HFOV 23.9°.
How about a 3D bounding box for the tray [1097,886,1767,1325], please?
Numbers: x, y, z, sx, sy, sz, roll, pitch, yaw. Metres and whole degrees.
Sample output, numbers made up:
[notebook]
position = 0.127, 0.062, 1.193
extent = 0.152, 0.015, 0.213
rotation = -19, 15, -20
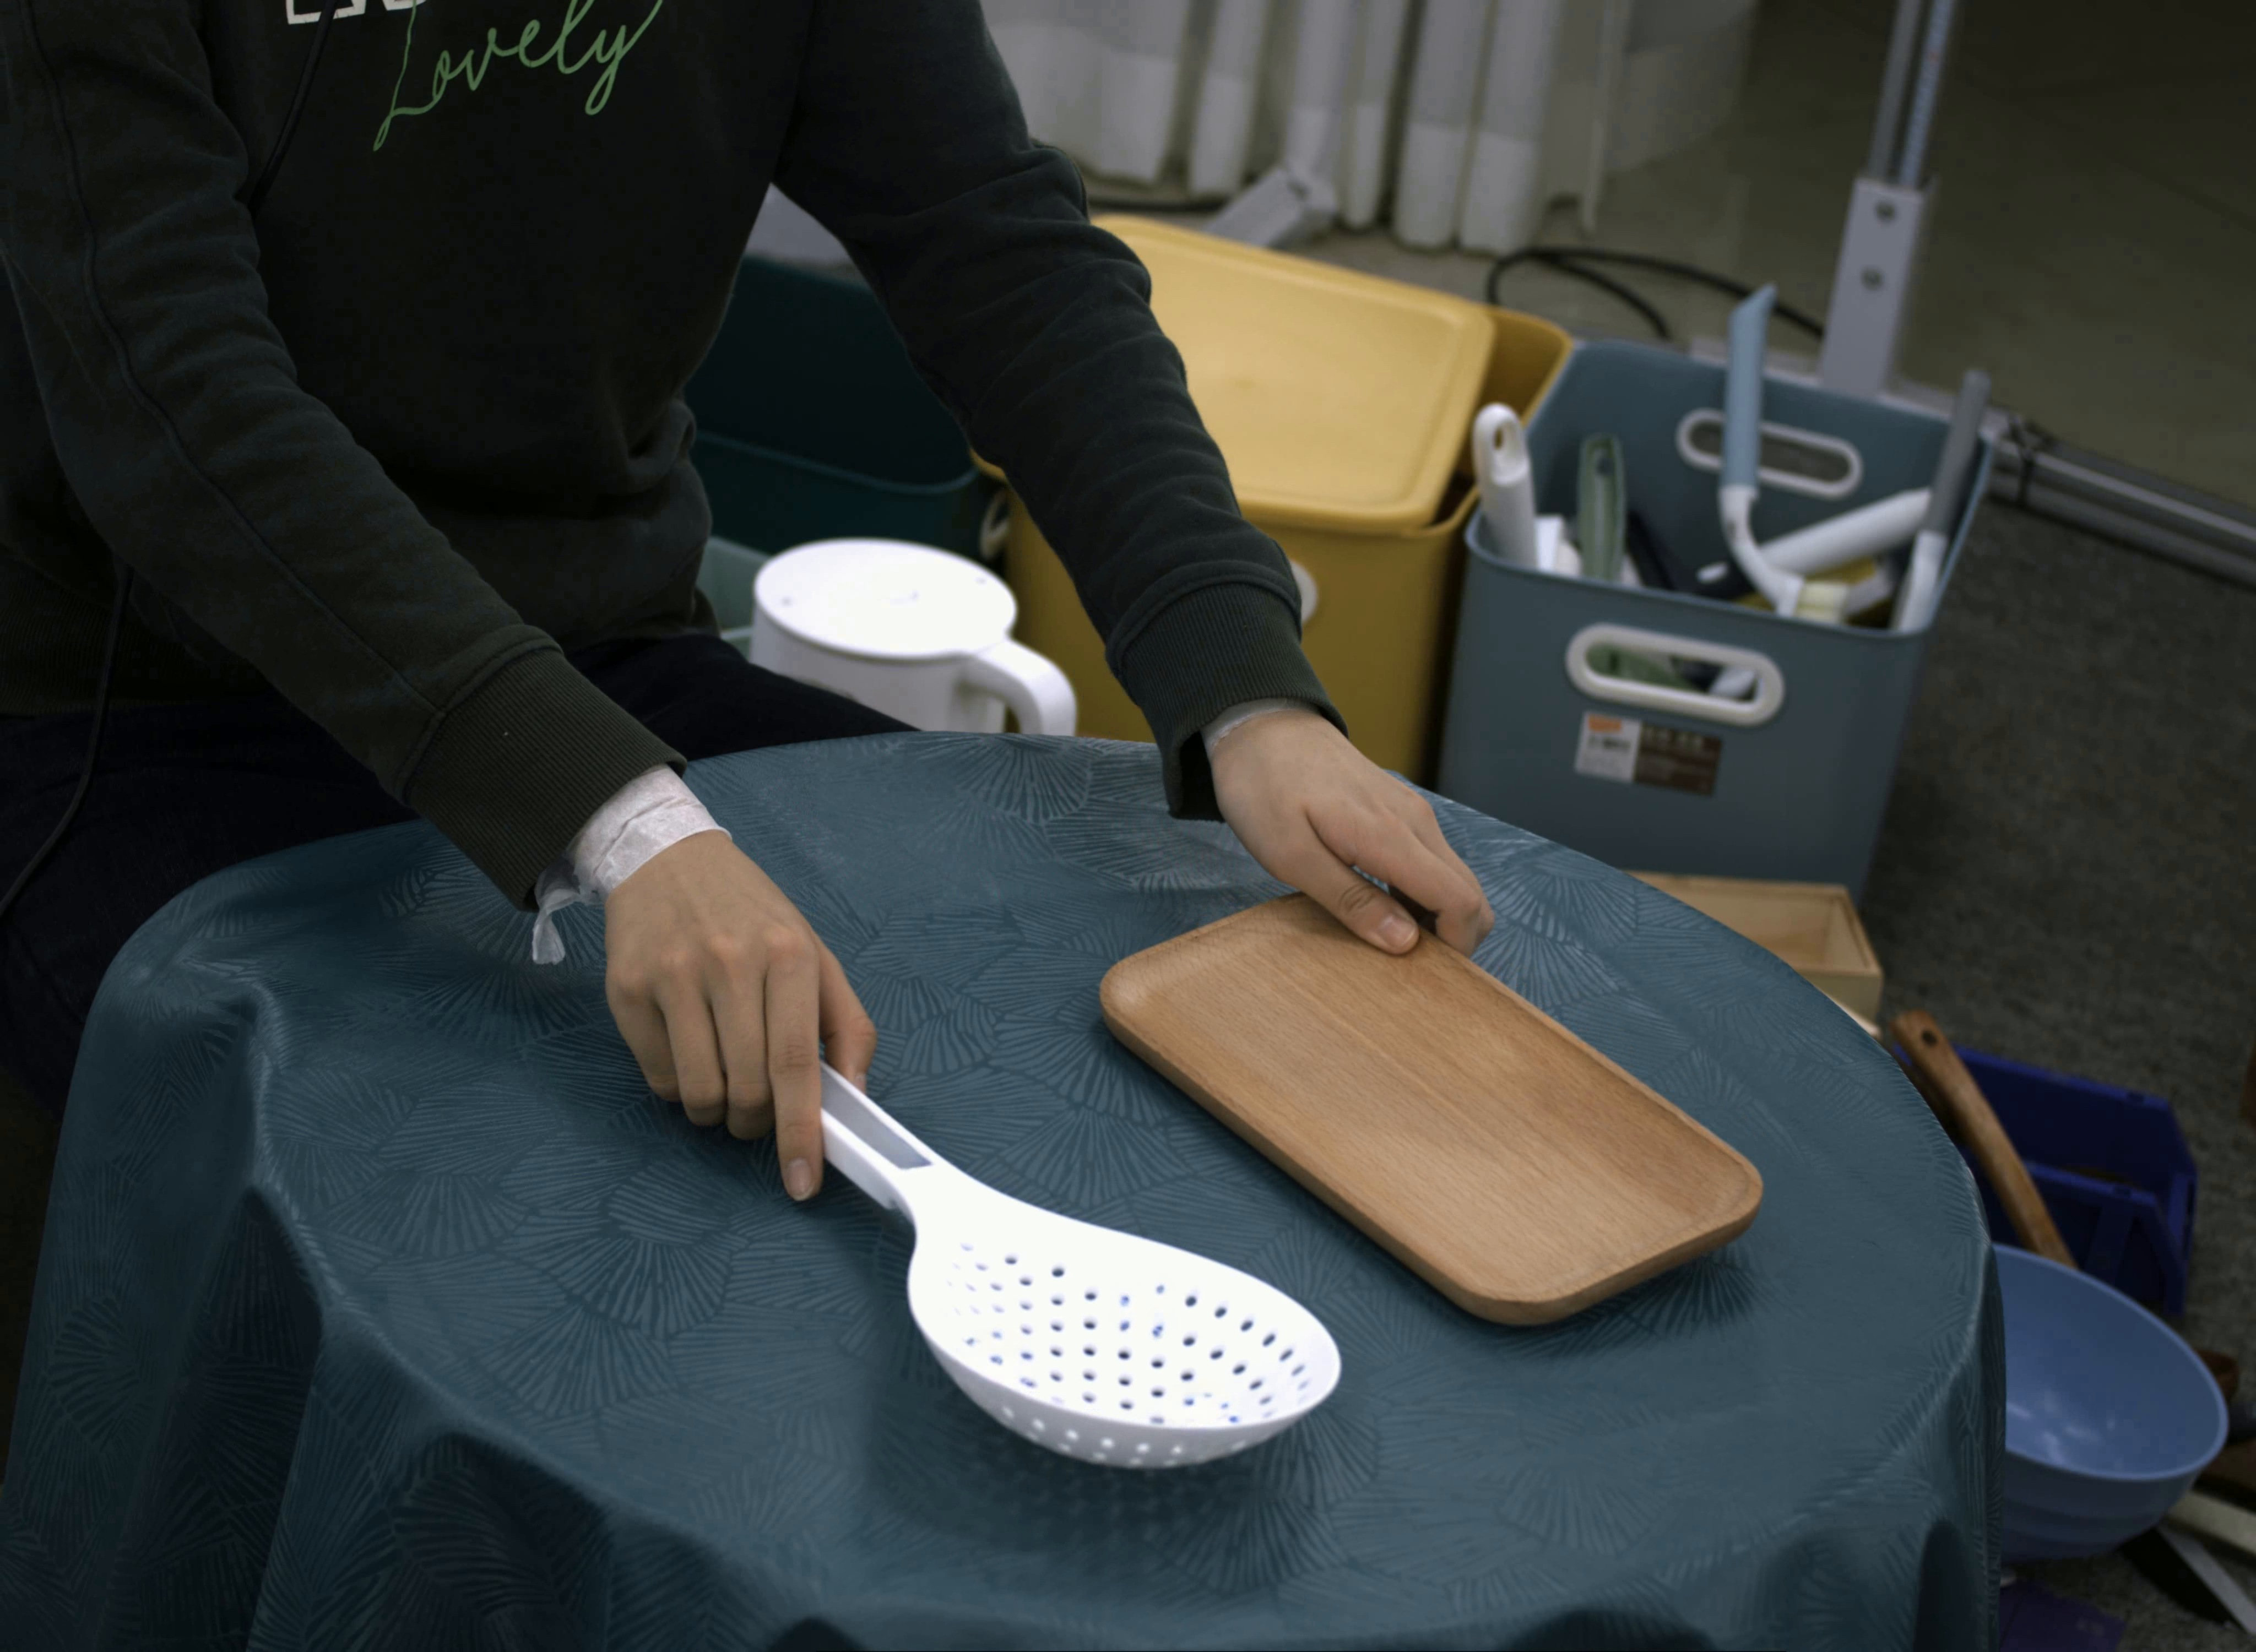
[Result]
[tray]
position = 0.102, 0.094, 1.846
extent = 0.130, 0.023, 0.253
rotation = -19, 35, -30

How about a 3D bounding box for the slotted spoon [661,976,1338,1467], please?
[slotted spoon]
position = -0.061, 0.122, 1.733
extent = 0.135, 0.045, 0.353
rotation = -1, 26, -35
